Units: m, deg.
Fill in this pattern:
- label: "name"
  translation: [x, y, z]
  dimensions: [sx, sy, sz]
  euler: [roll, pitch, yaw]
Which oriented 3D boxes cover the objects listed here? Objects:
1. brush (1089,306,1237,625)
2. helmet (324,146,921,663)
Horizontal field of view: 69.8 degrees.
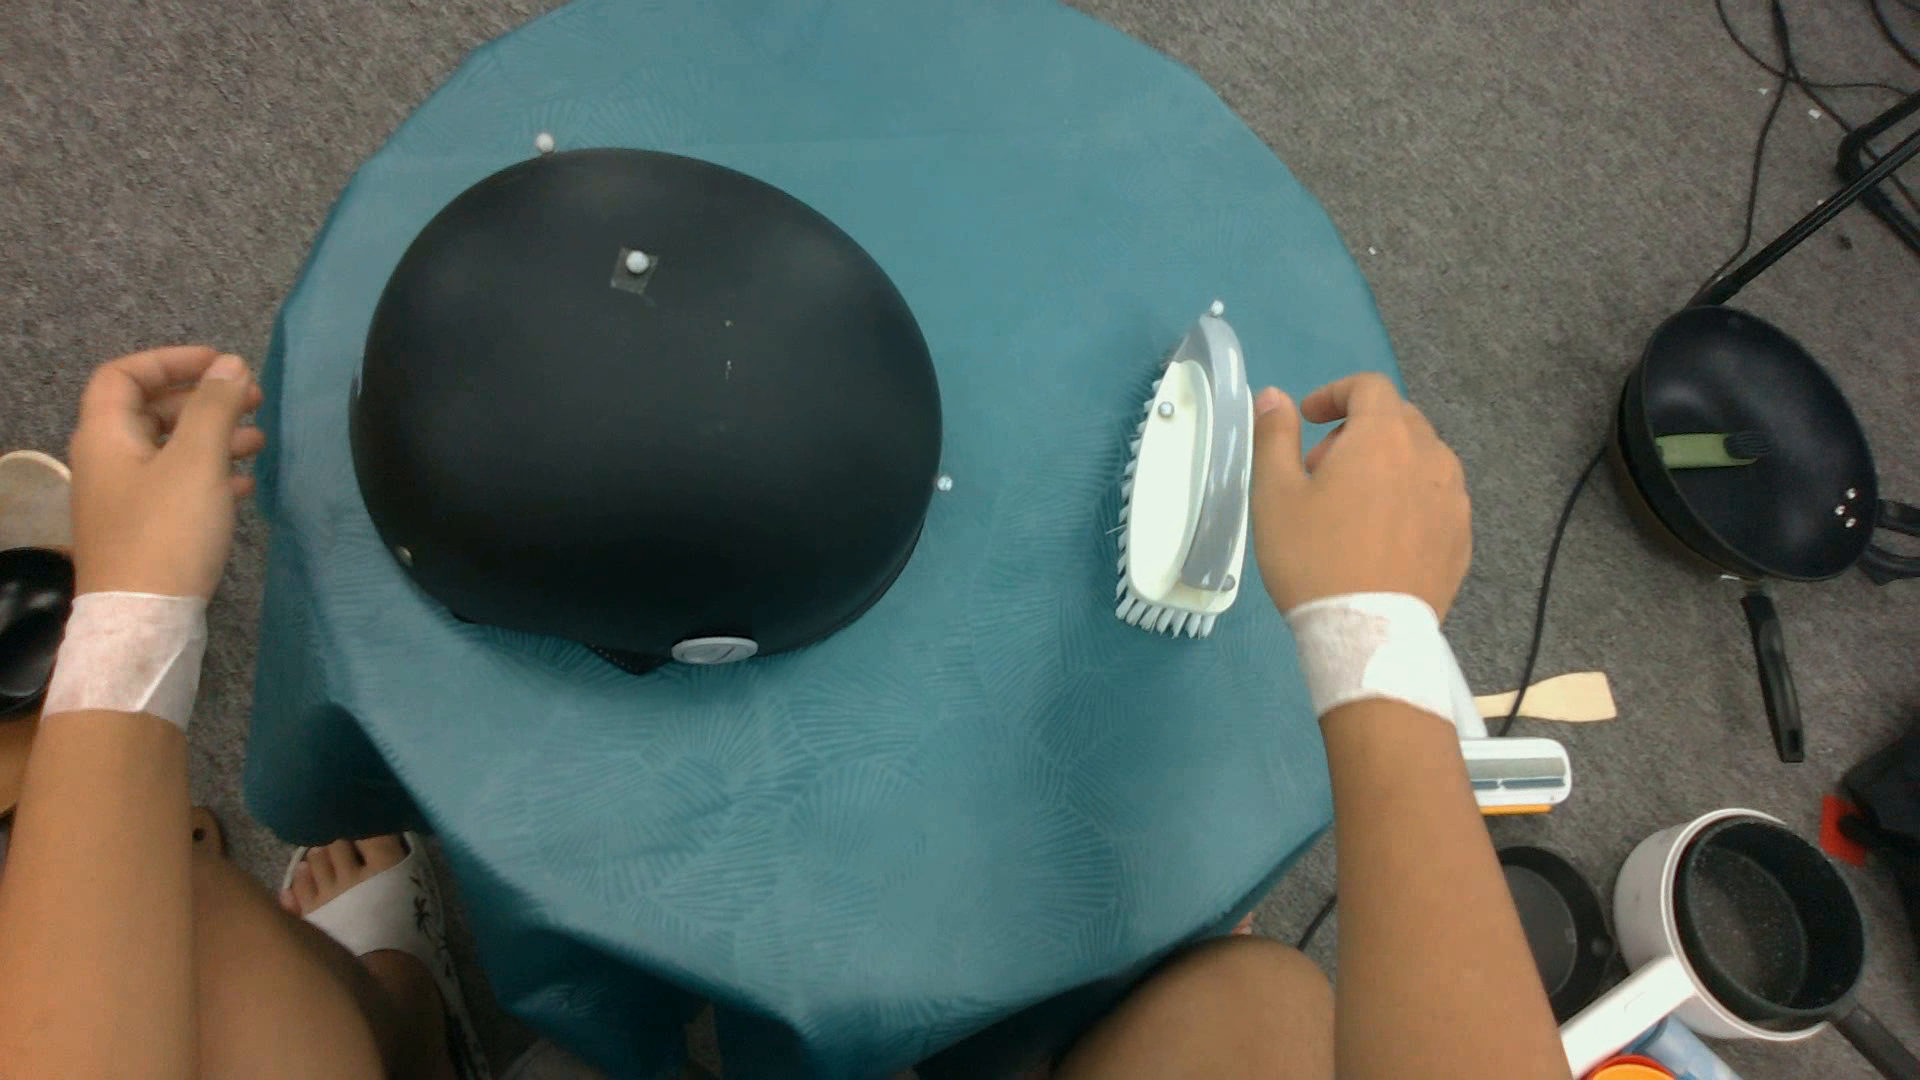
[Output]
- label: "brush"
  translation: [0.110, -0.053, 0.704]
  dimensions: [0.061, 0.094, 0.176]
  euler: [13, 65, -12]
- label: "helmet"
  translation: [-0.138, -0.072, 0.608]
  dimensions: [0.273, 0.166, 0.231]
  euler: [11, 67, -13]
